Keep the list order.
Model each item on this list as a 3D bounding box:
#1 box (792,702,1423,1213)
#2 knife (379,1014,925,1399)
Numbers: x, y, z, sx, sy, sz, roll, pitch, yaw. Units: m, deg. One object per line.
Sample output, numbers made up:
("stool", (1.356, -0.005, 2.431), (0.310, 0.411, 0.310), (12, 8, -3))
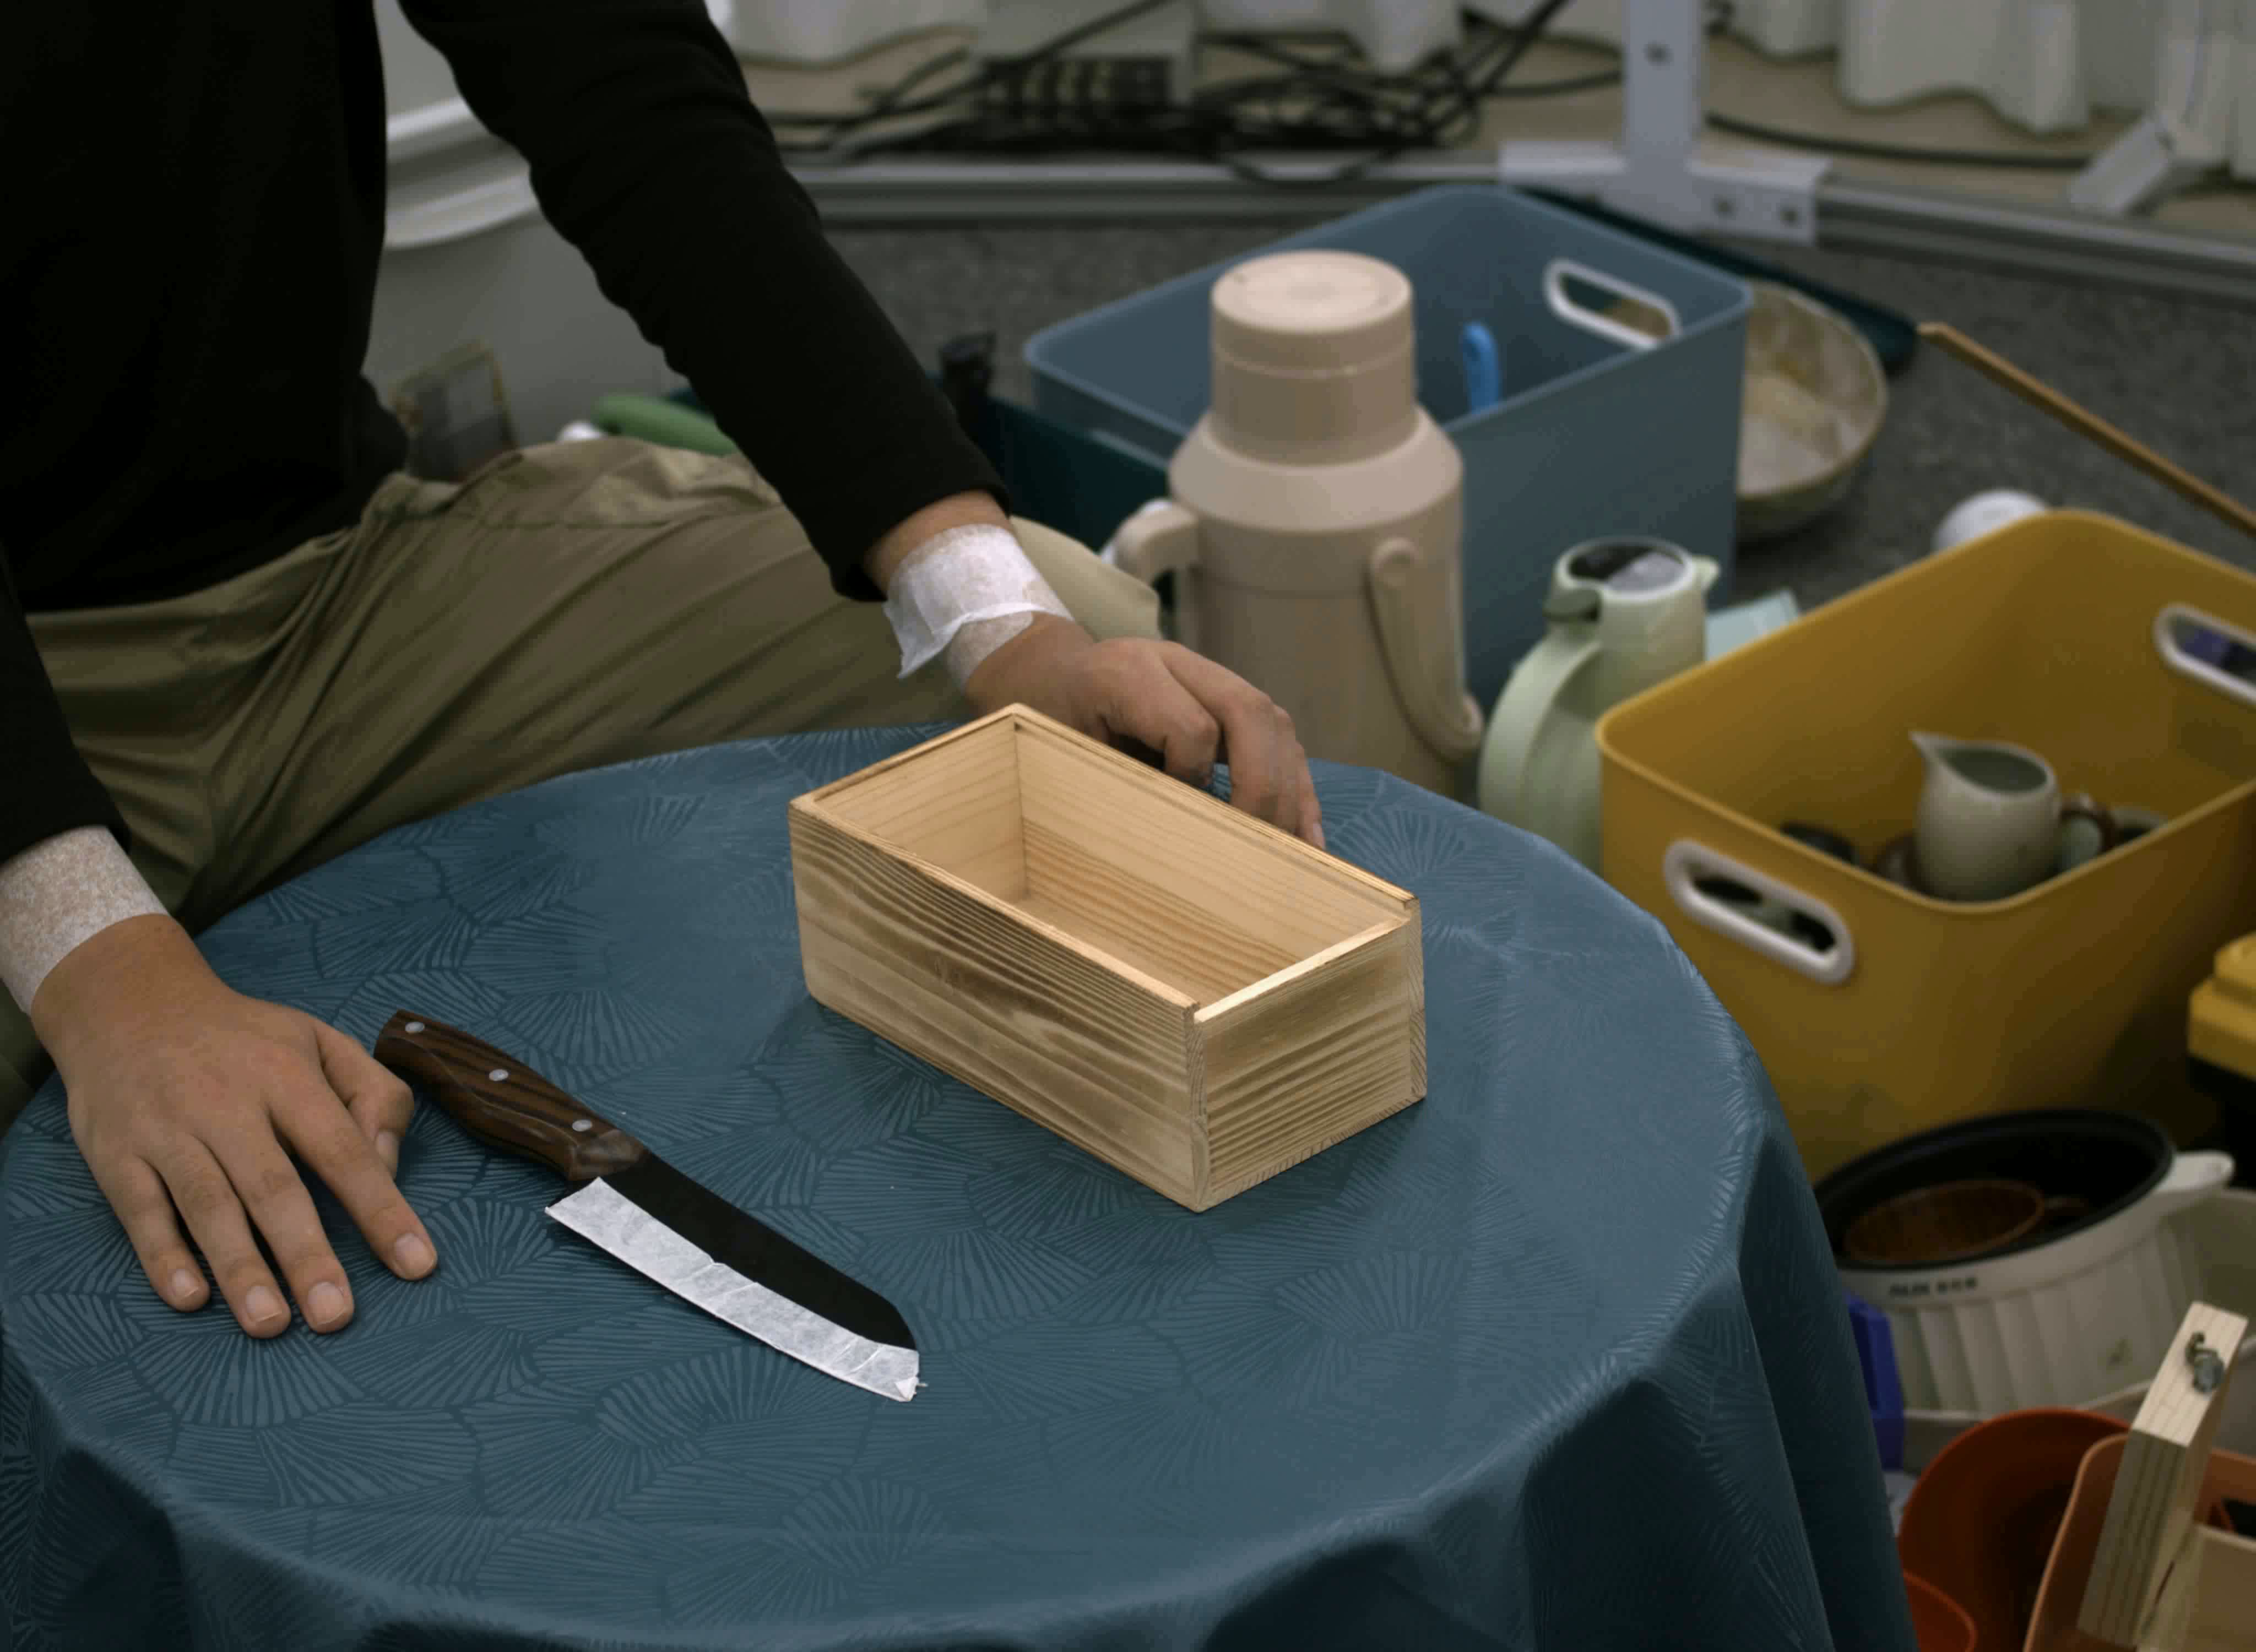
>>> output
("box", (-0.009, 0.041, 1.932), (0.108, 0.079, 0.211), (-23, 34, -35))
("knife", (-0.160, 0.126, 1.853), (0.051, 0.020, 0.289), (-28, 39, -31))
